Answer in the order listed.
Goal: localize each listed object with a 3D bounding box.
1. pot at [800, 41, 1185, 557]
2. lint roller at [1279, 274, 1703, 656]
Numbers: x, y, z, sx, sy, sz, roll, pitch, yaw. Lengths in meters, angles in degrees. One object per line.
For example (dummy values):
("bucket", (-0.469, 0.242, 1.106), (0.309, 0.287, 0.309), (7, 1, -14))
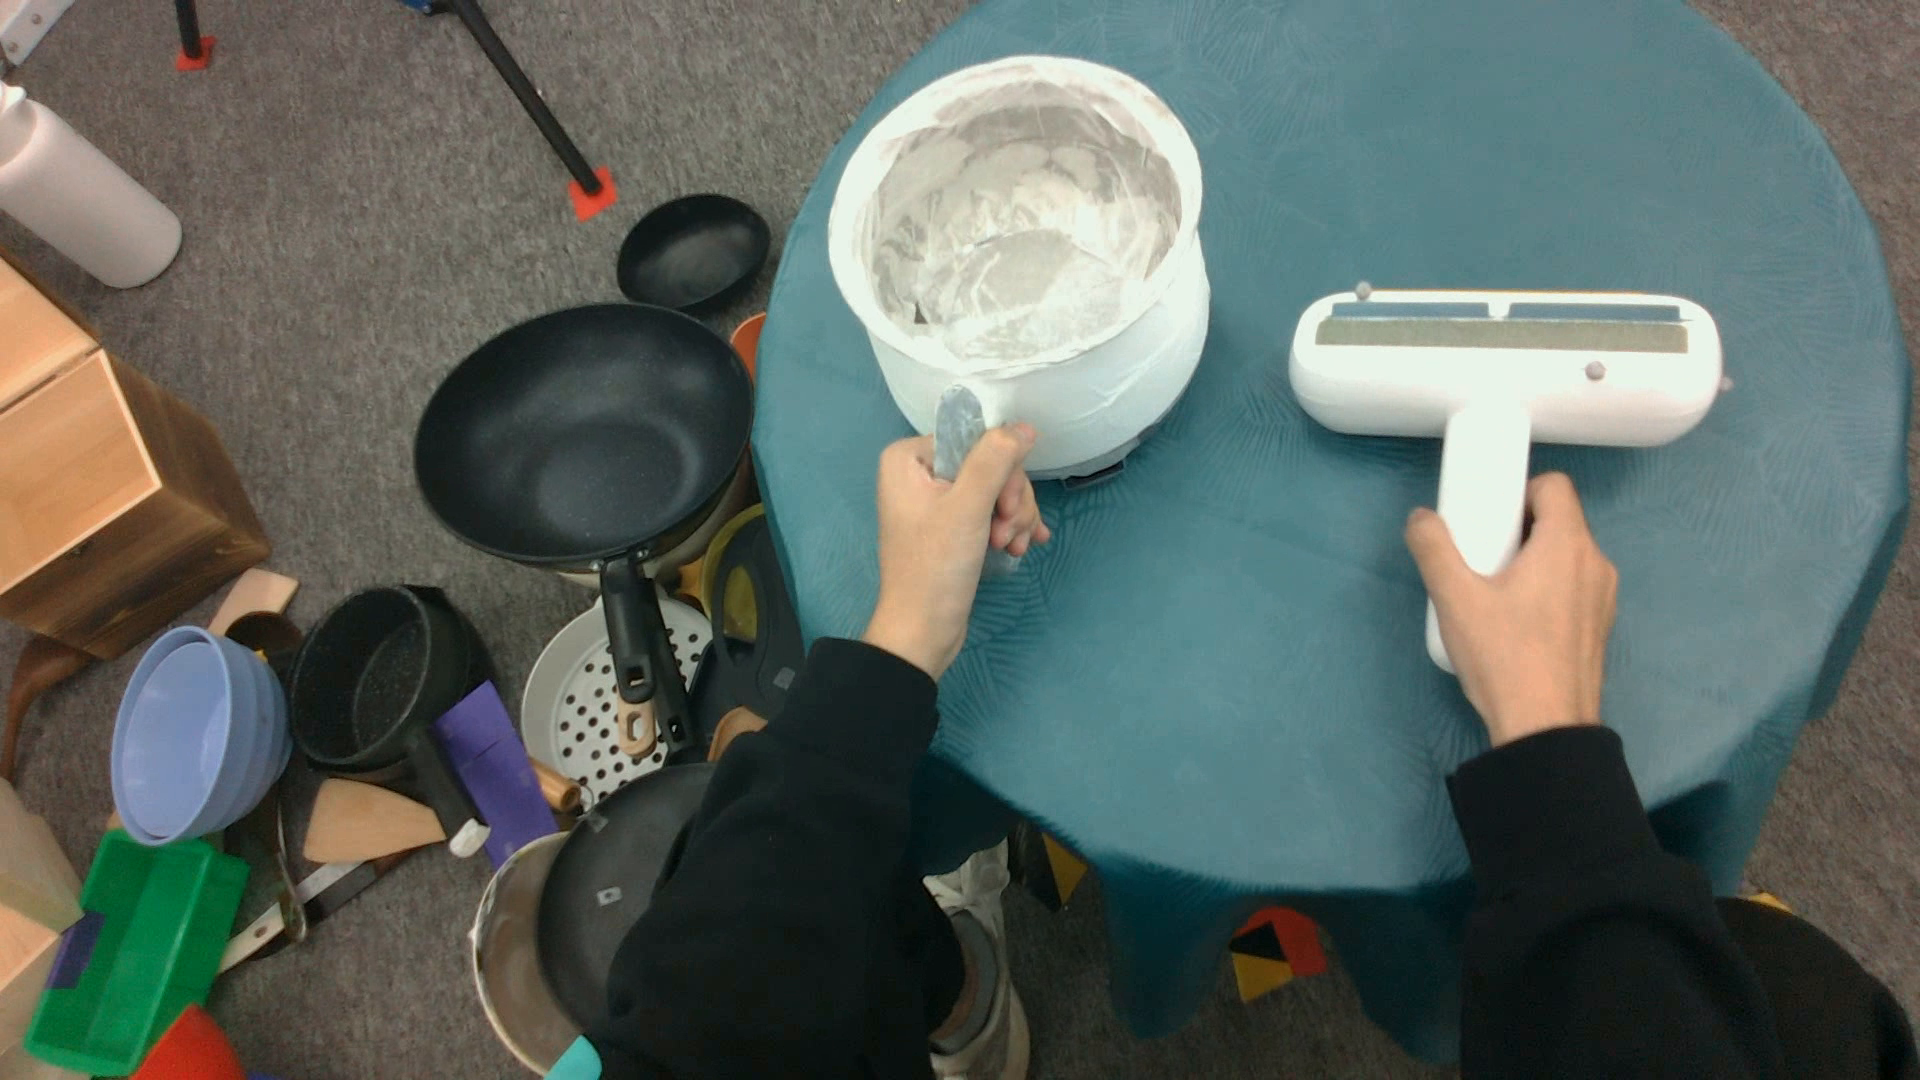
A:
("pot", (0.017, -0.114, 0.689), (0.178, 0.136, 0.234), (7, 68, 16))
("lint roller", (0.238, -0.040, 0.656), (0.192, 0.074, 0.193), (11, 63, 20))
